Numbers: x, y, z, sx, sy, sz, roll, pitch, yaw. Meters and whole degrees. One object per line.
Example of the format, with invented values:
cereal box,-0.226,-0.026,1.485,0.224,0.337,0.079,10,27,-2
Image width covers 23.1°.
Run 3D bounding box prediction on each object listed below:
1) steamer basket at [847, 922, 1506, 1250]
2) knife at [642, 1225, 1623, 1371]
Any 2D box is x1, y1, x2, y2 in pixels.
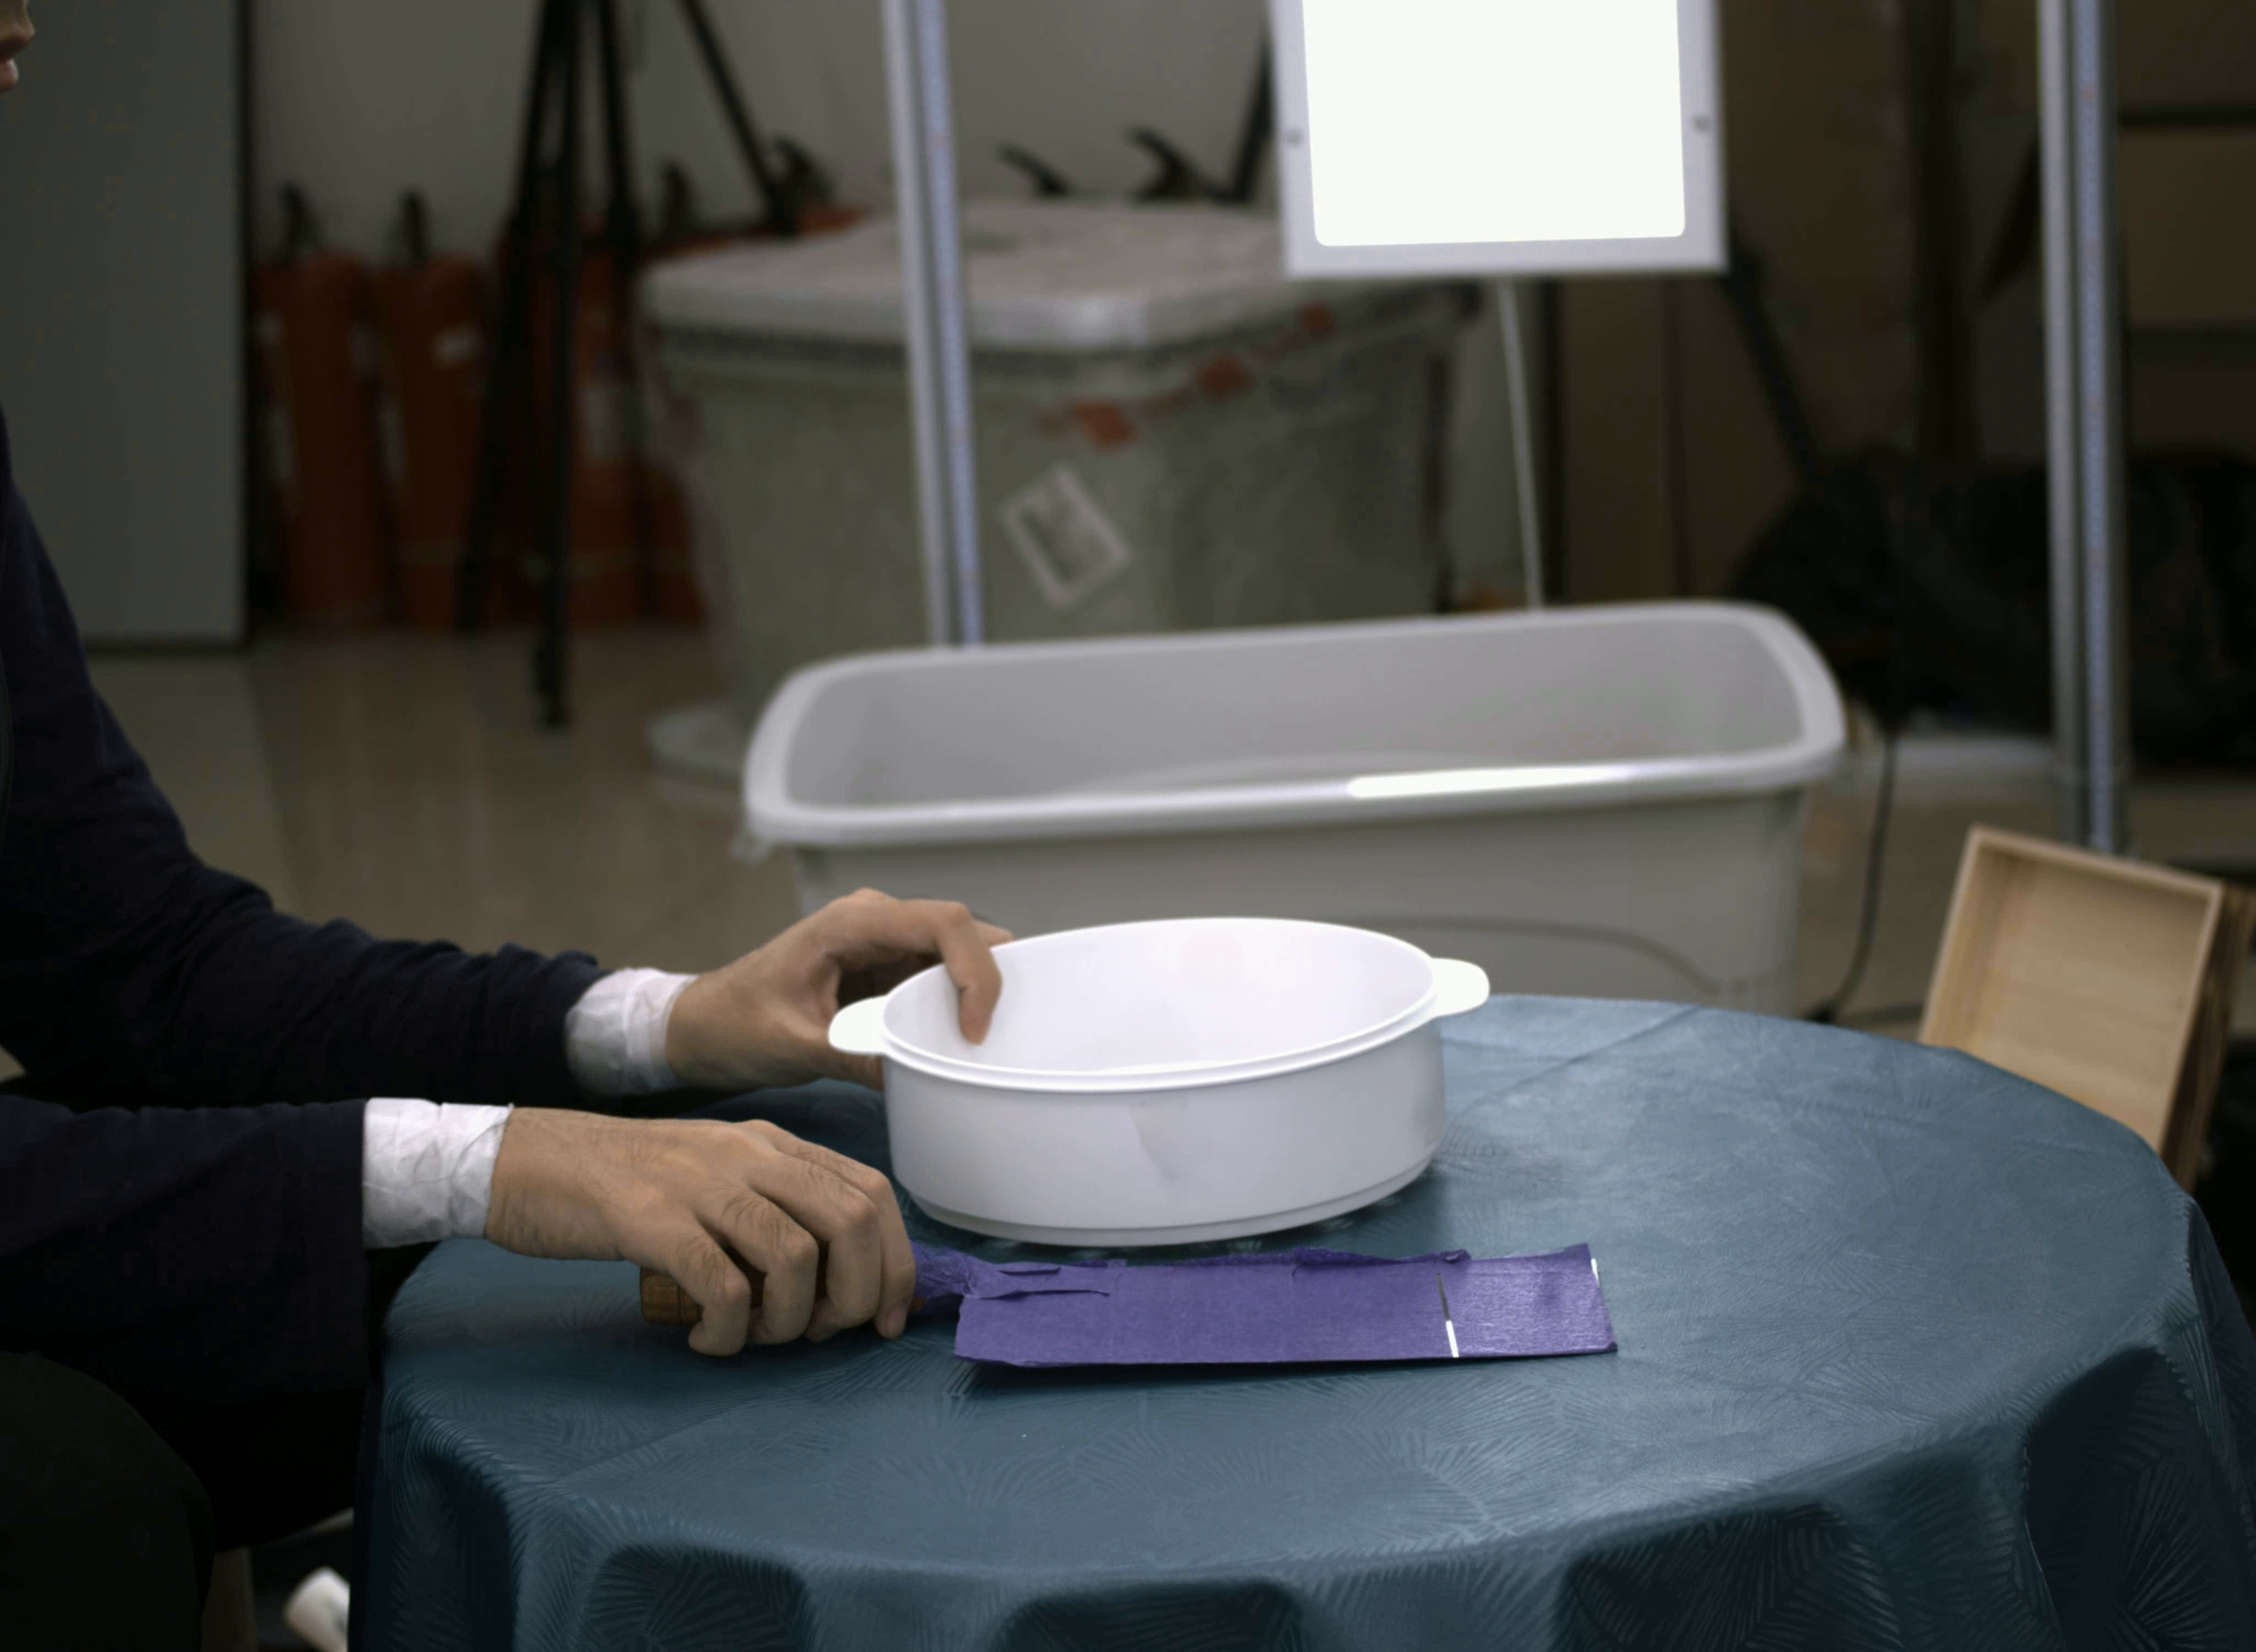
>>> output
steamer basket,0.020,0.090,1.908,0.231,0.069,0.201,-7,12,5
knife,-0.001,0.150,1.751,0.315,0.032,0.103,-4,13,4
